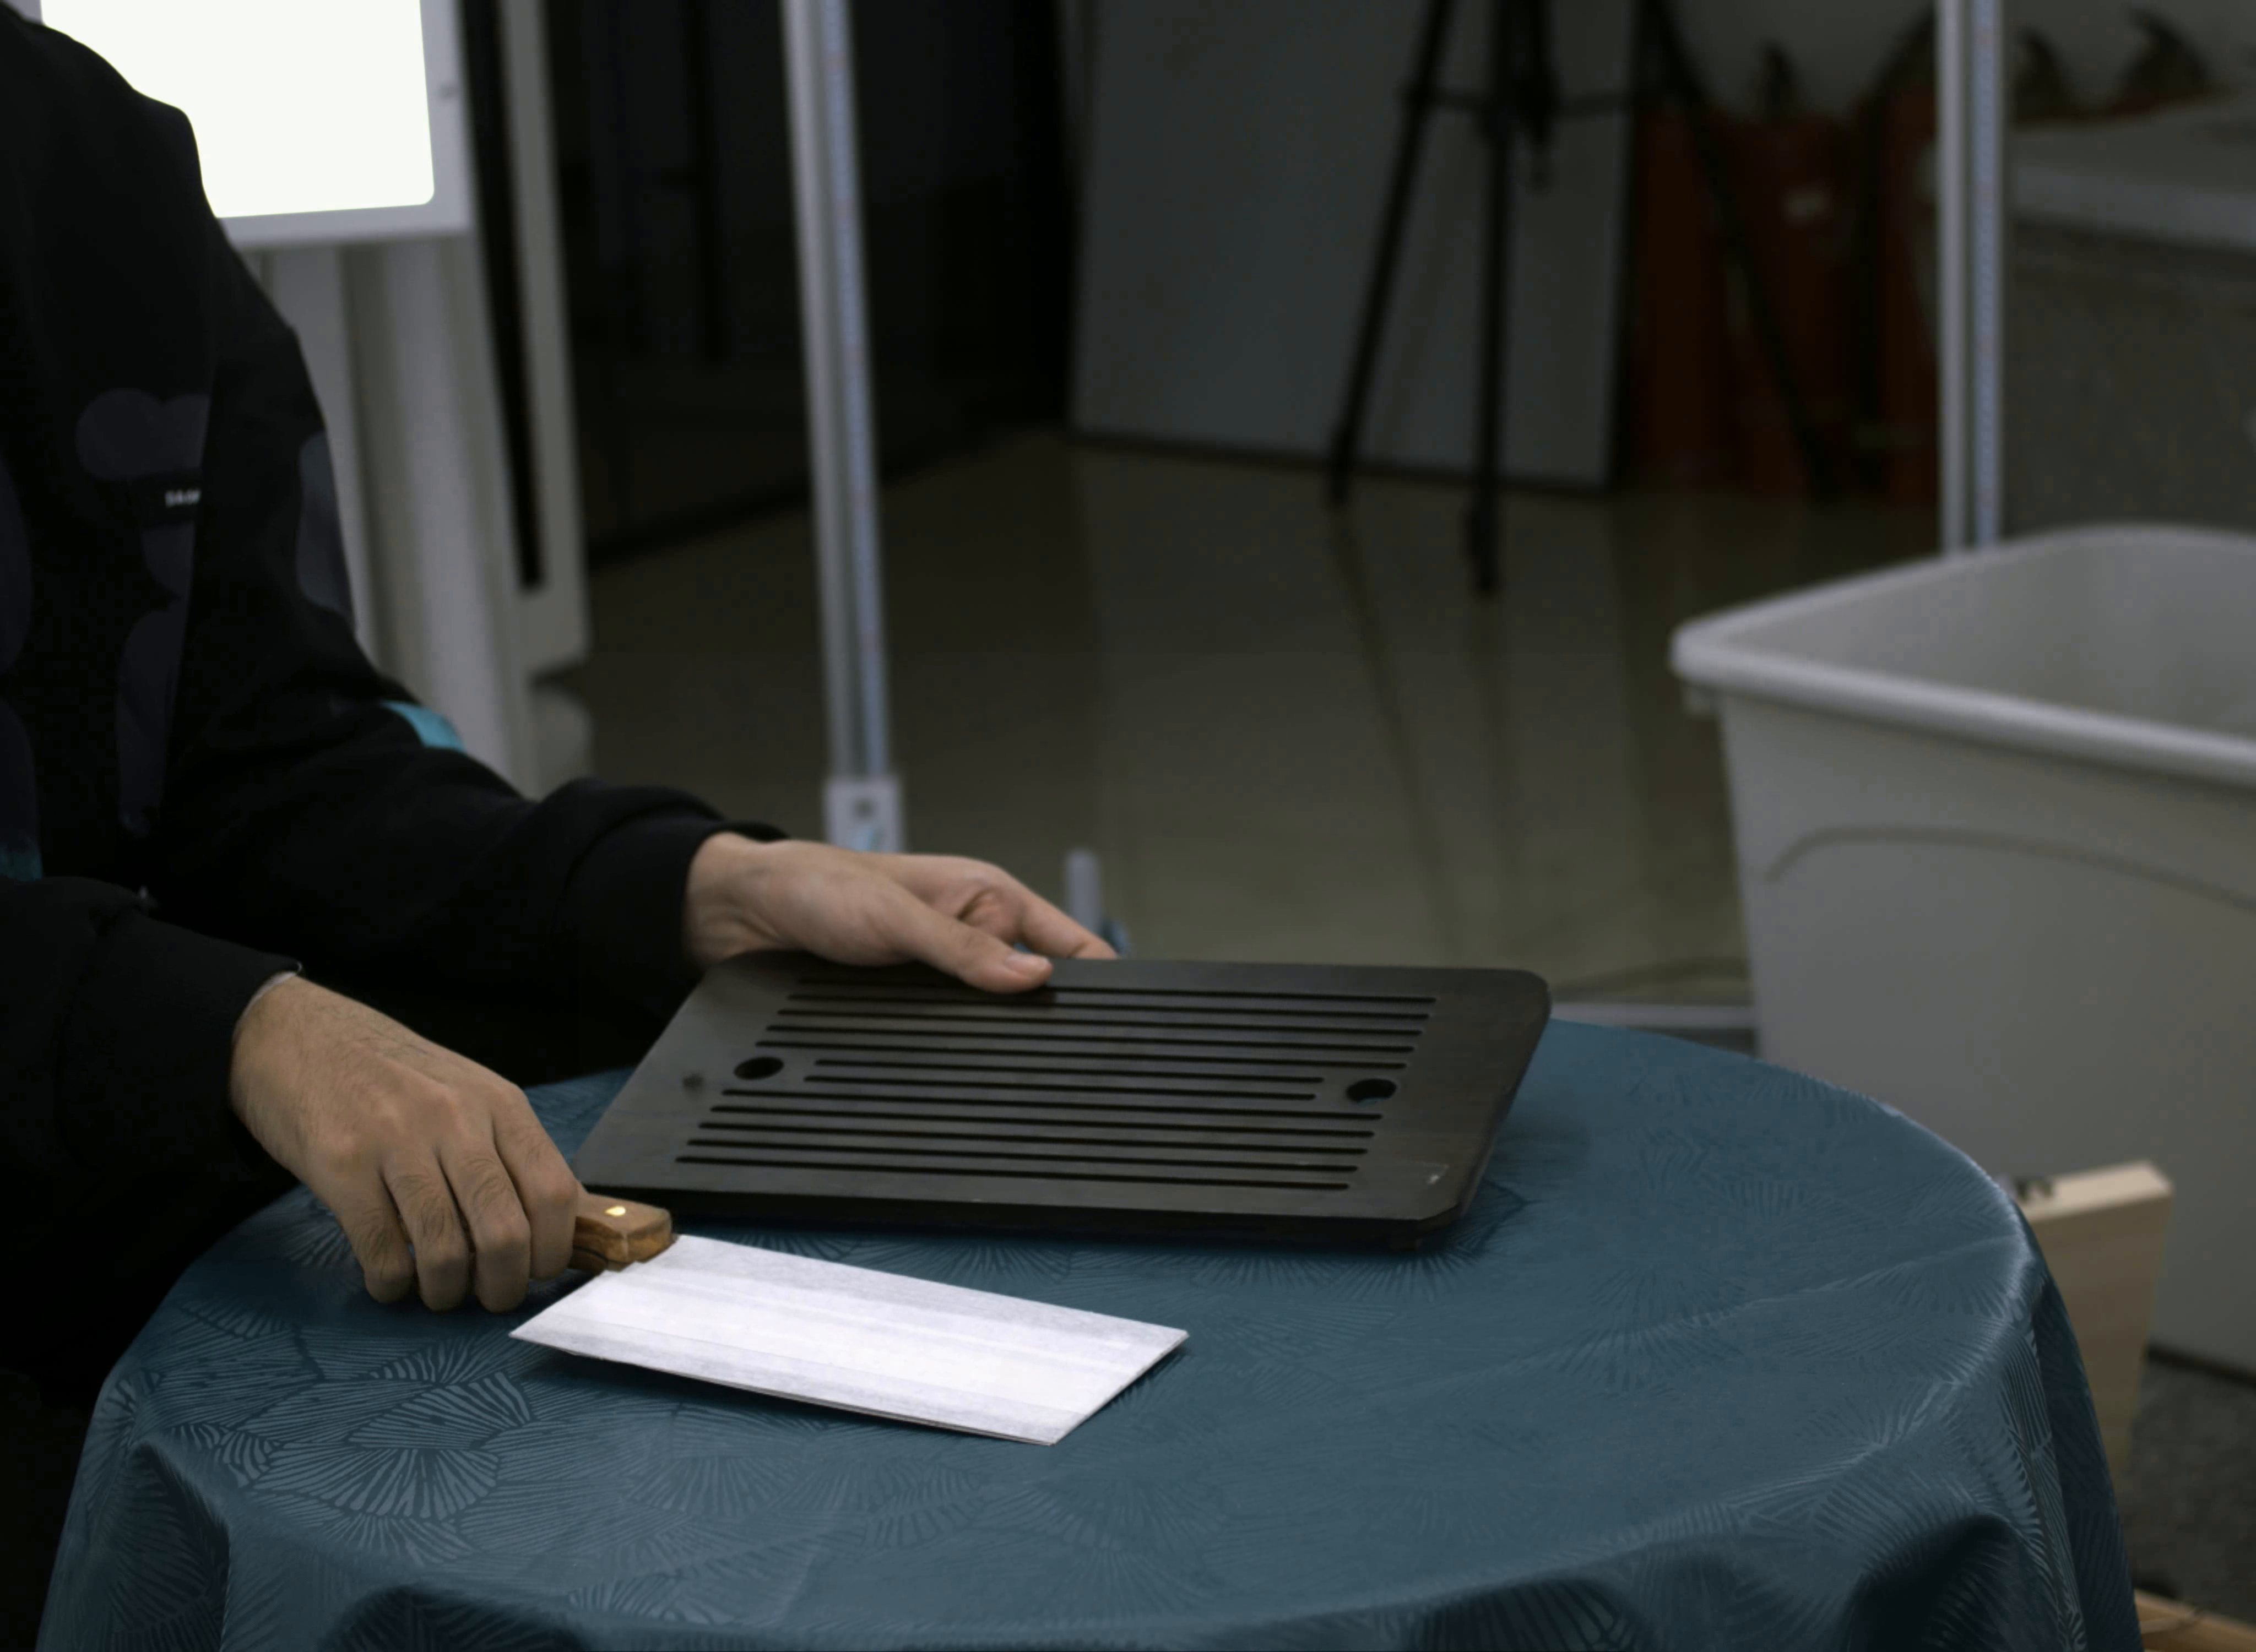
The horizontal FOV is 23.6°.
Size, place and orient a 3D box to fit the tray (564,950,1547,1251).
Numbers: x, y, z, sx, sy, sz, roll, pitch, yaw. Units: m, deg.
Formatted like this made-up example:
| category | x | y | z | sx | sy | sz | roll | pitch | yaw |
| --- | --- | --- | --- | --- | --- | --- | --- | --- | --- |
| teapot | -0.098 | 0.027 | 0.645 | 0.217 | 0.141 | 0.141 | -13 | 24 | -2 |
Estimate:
| category | x | y | z | sx | sy | sz | roll | pitch | yaw |
| --- | --- | --- | --- | --- | --- | --- | --- | --- | --- |
| tray | -0.022 | 0.090 | 1.800 | 0.305 | 0.019 | 0.169 | 1 | 26 | 19 |

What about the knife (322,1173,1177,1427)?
| category | x | y | z | sx | sy | sz | roll | pitch | yaw |
| --- | --- | --- | --- | --- | --- | --- | --- | --- | --- |
| knife | -0.133 | 0.148 | 1.657 | 0.307 | 0.021 | 0.091 | 7 | 21 | 29 |
